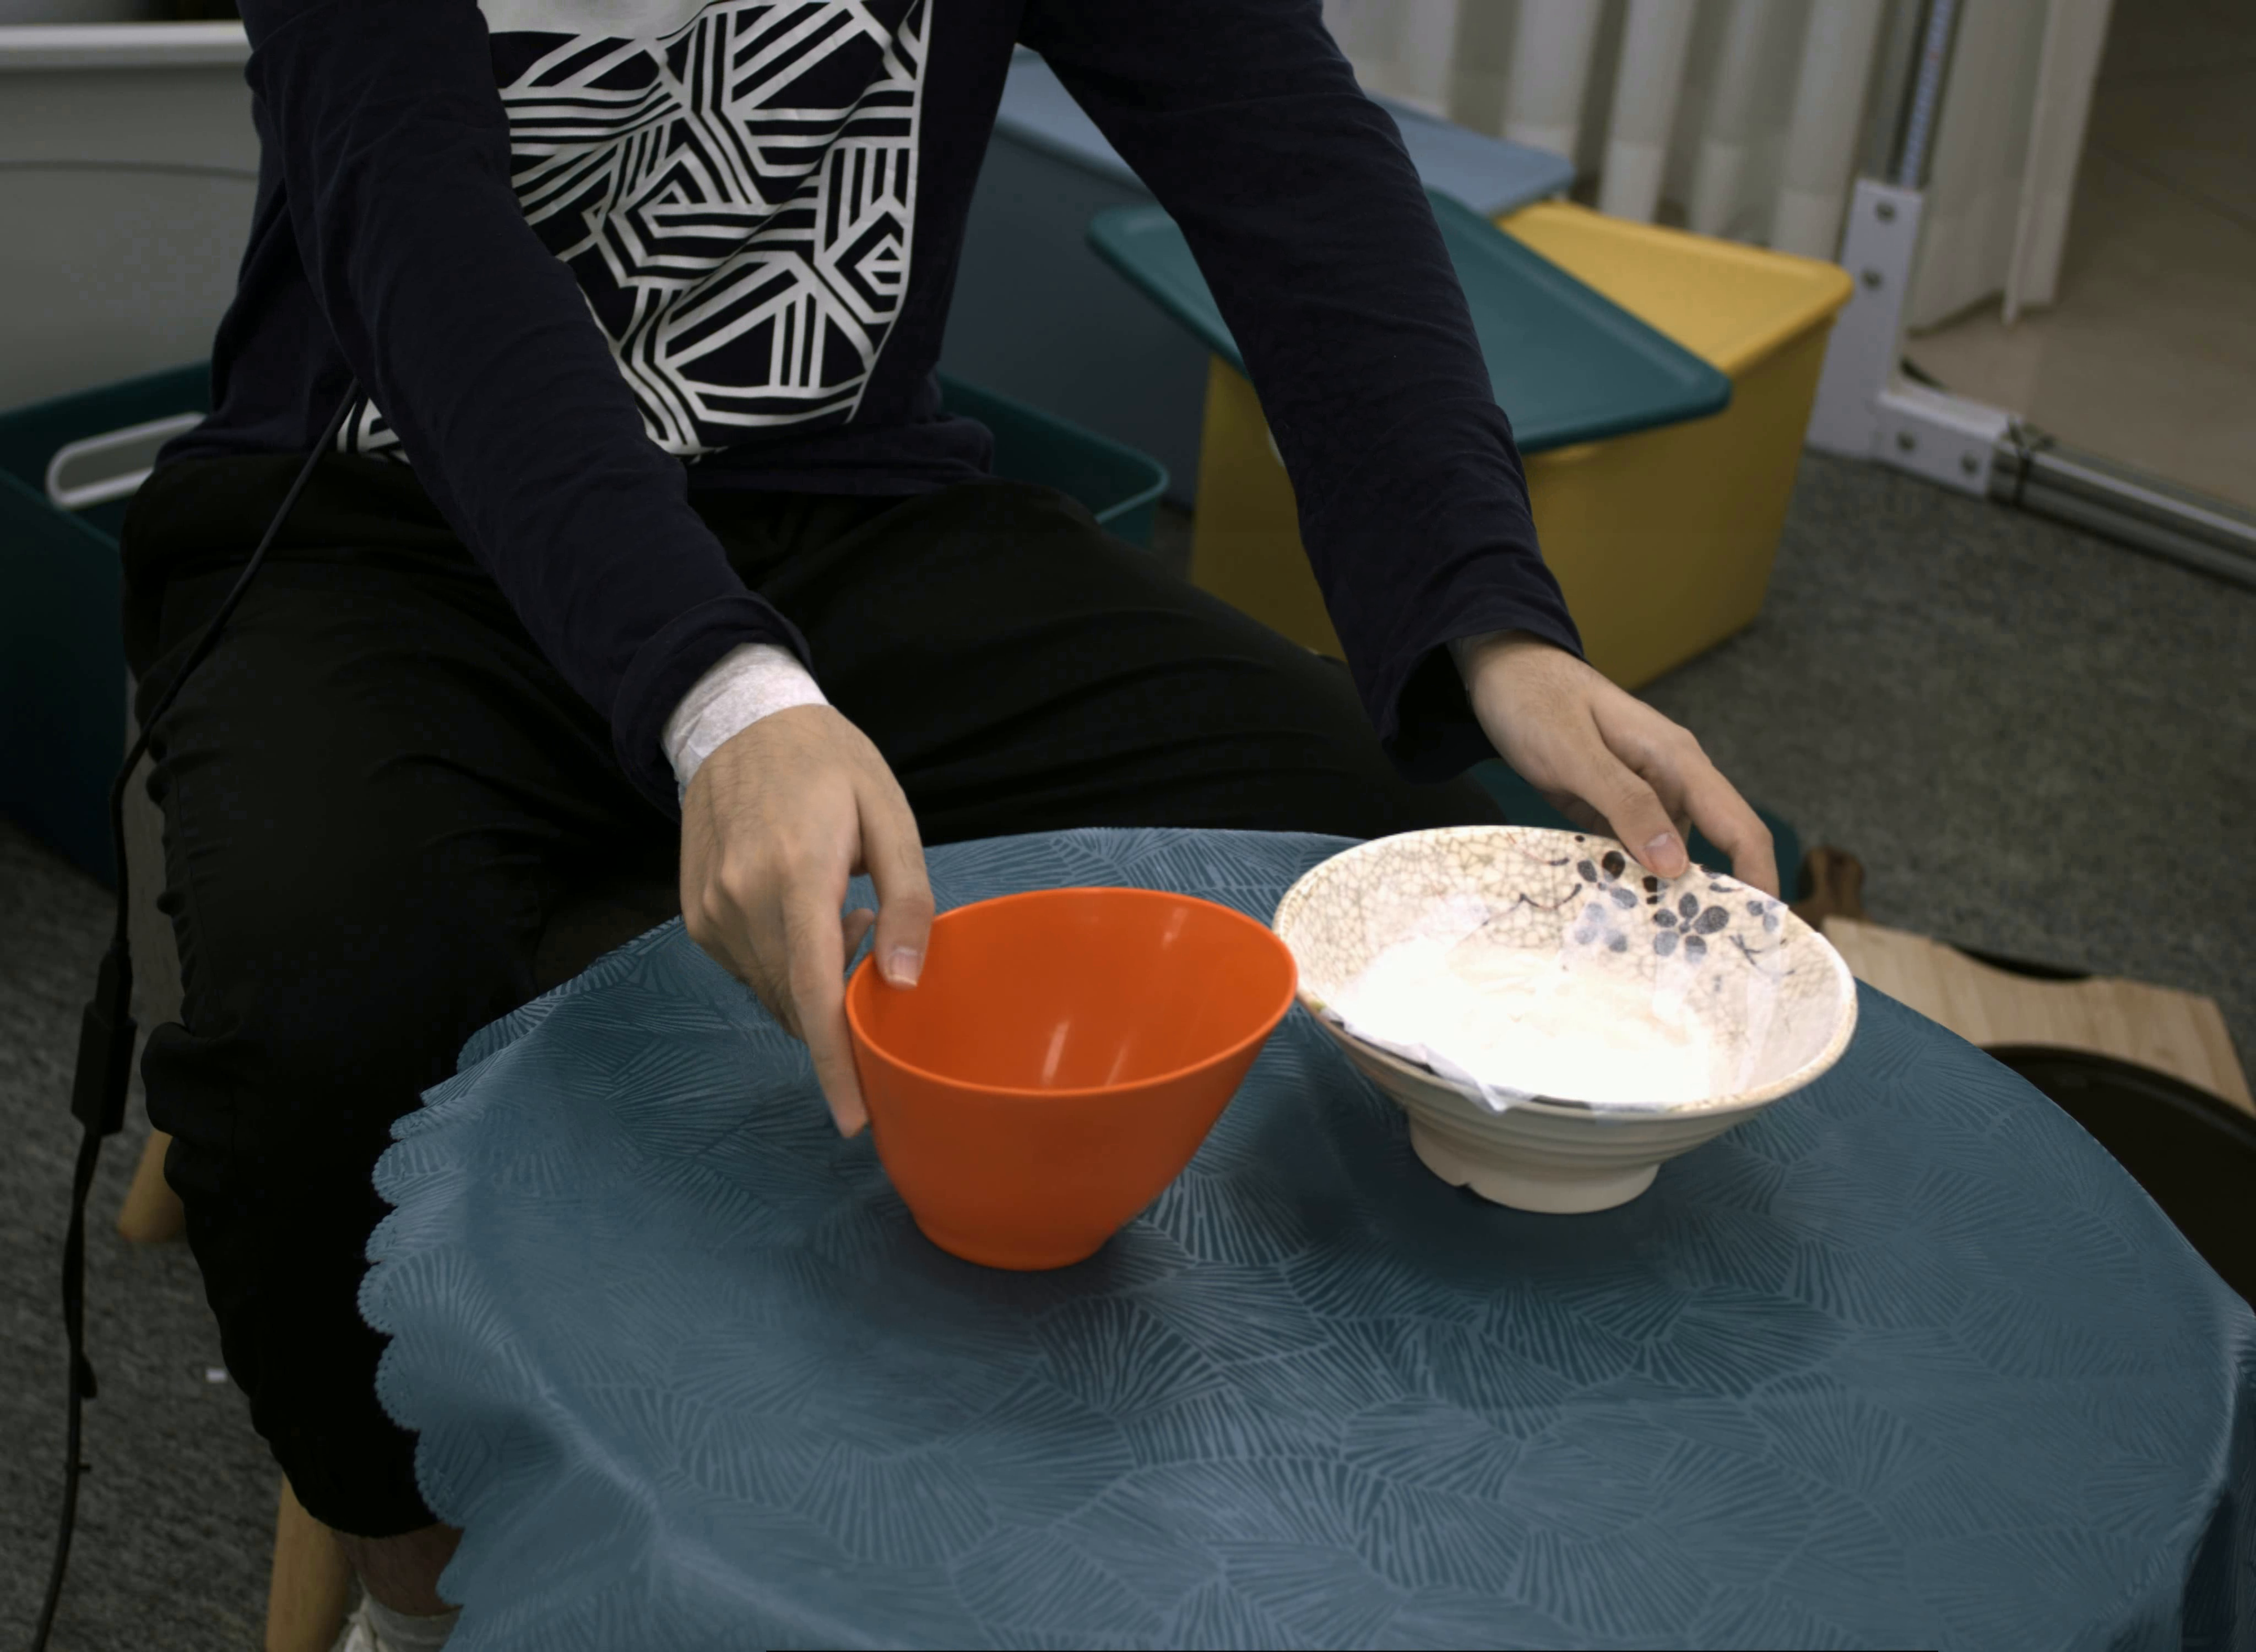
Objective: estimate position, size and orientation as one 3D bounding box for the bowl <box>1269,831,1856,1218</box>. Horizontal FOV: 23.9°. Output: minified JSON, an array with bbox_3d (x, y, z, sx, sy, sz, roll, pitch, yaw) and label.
[{"bbox_3d":[0.145,0.081,1.839,0.203,0.078,0.205,6,25,-3],"label":"bowl"}]

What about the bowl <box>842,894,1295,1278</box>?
[{"bbox_3d":[-0.023,0.090,1.757,0.147,0.104,0.149,4,26,-2],"label":"bowl"}]
